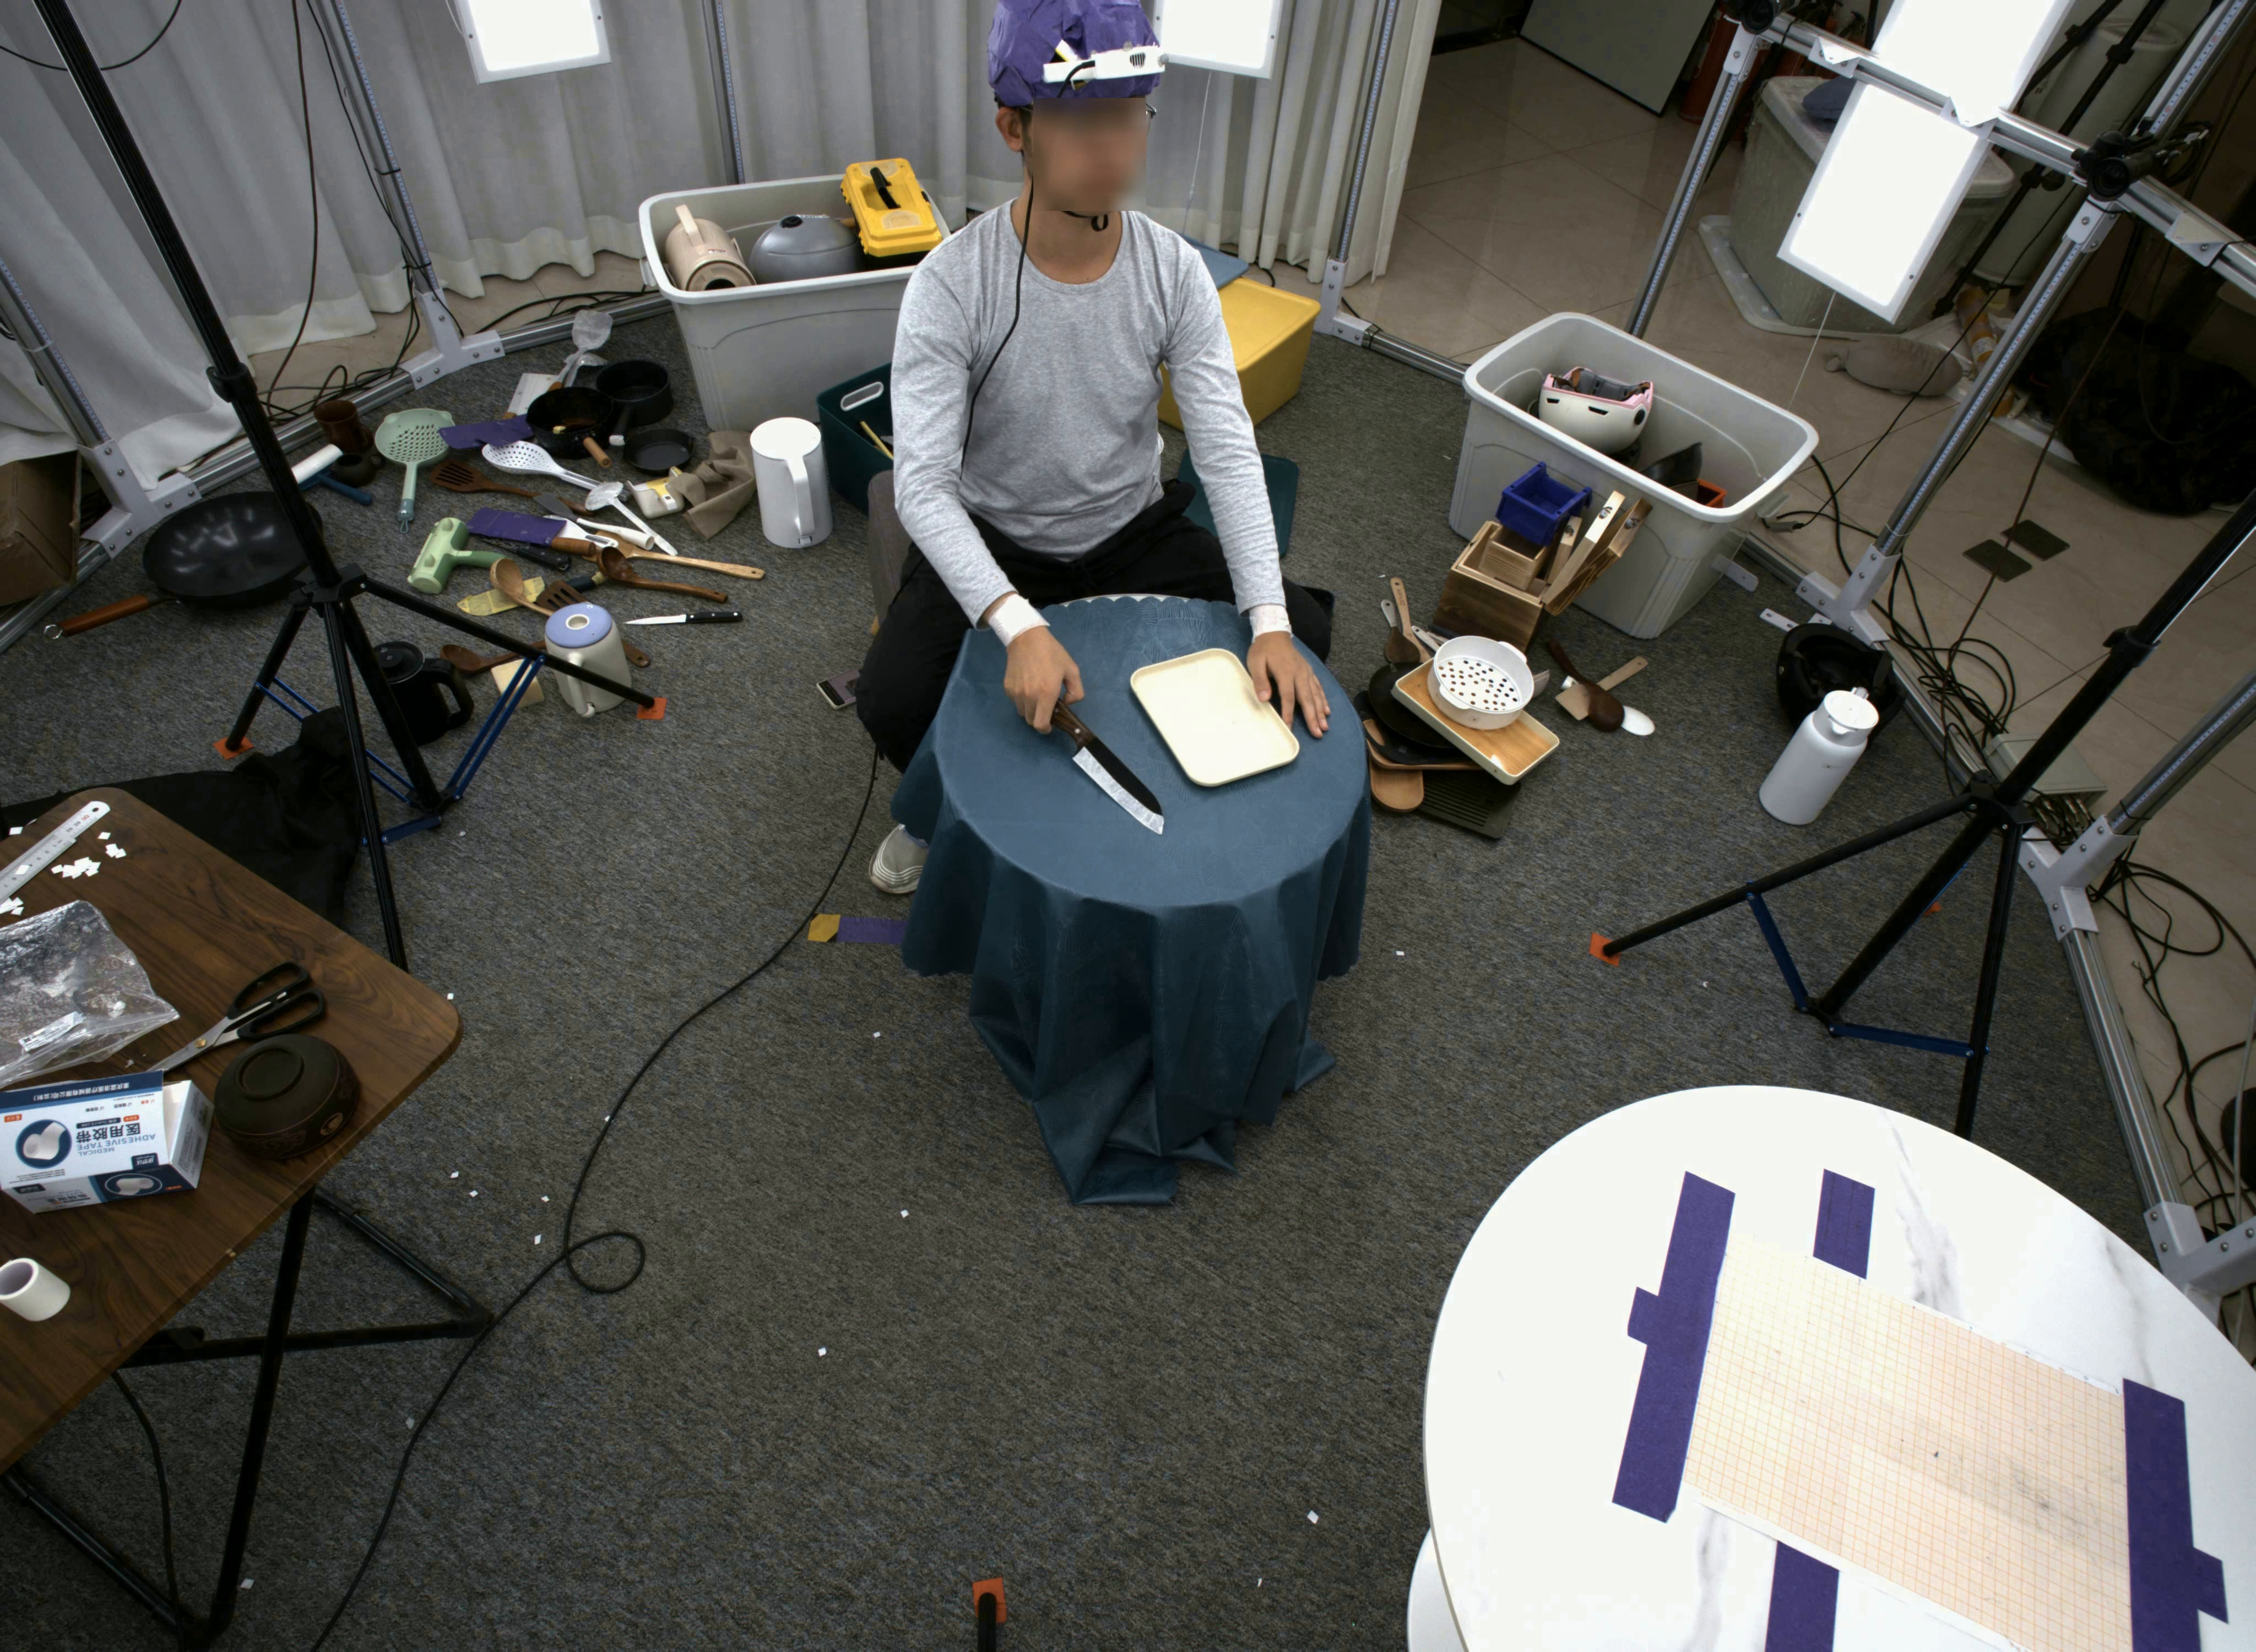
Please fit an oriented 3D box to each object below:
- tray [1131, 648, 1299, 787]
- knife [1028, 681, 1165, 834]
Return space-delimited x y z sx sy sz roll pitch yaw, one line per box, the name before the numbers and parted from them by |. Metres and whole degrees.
tray | 0.119 -0.154 1.798 0.171 0.017 0.245 -16 52 -18
knife | -0.043 -0.093 1.714 0.050 0.020 0.293 -45 67 8
